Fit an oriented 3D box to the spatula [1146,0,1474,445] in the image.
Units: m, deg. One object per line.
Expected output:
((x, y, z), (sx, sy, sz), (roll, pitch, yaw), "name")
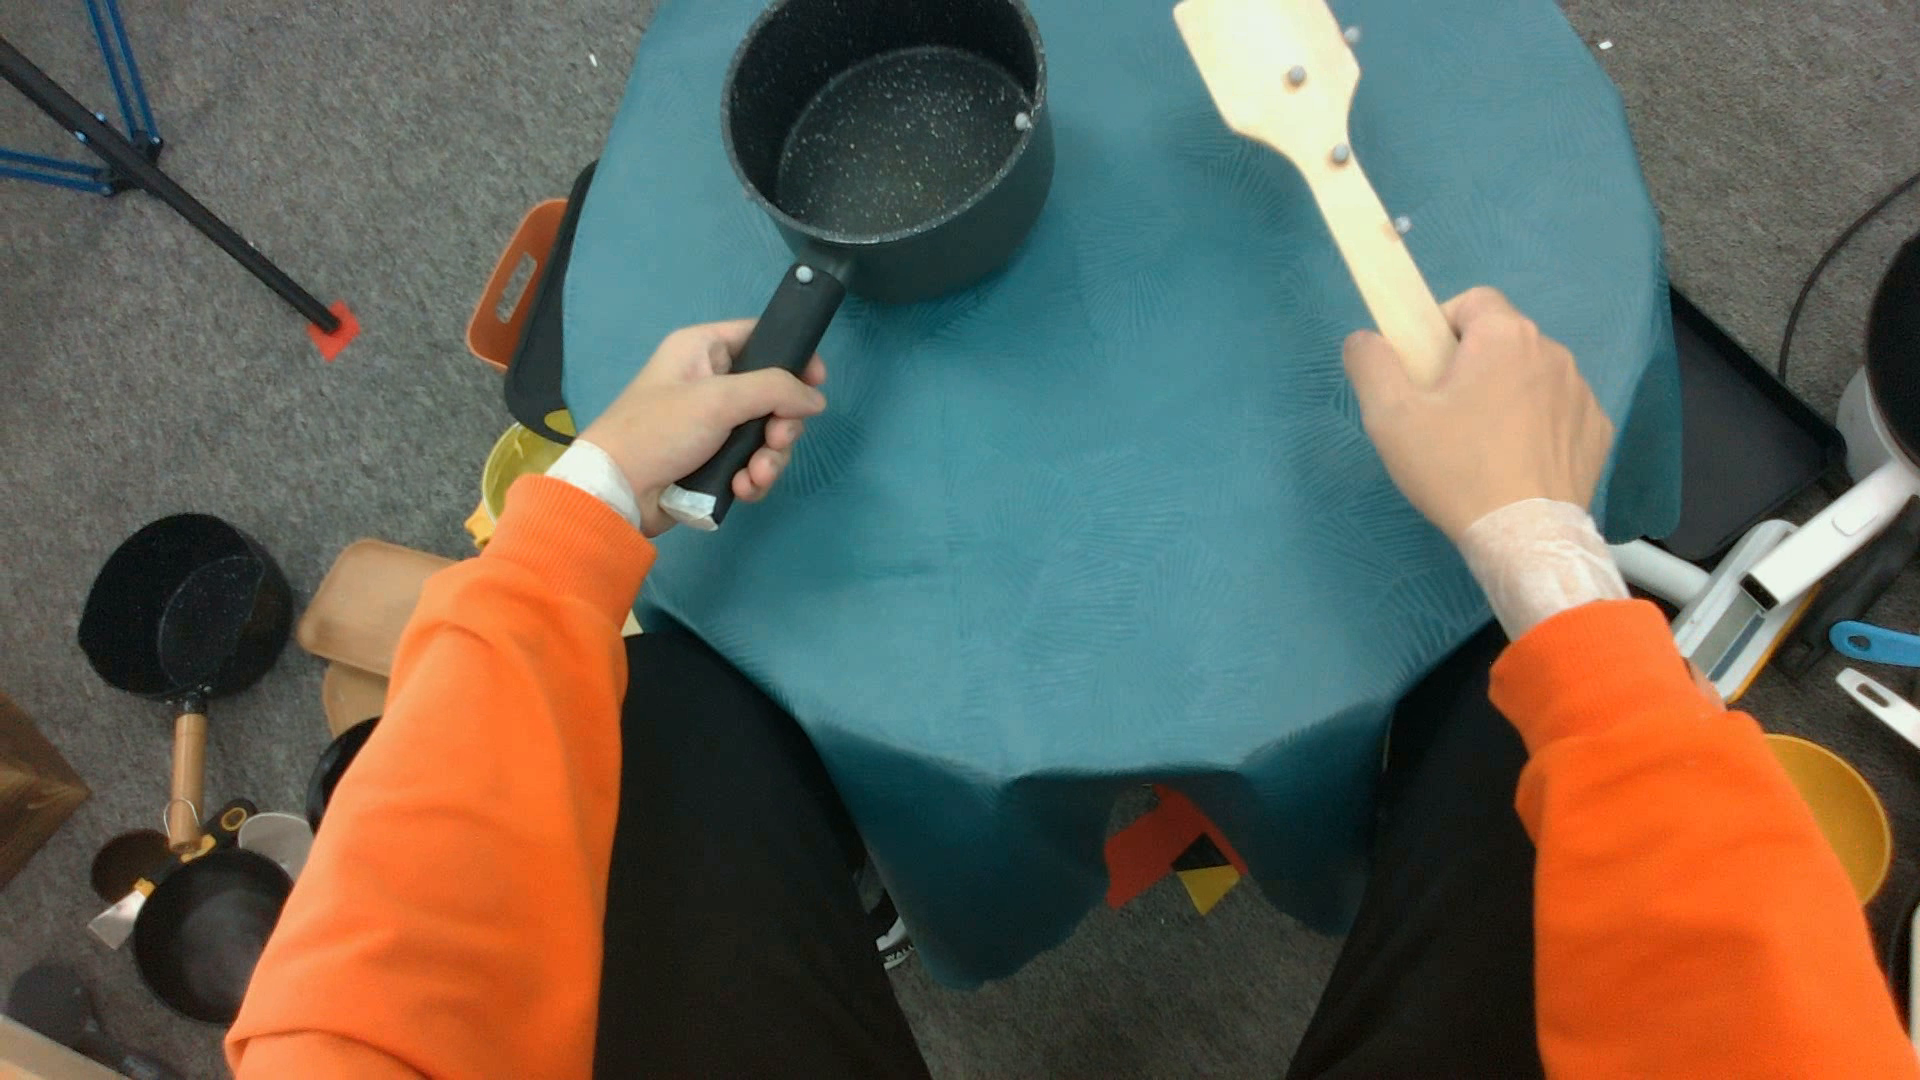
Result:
((0.173, -0.169, 0.666), (0.072, 0.010, 0.294), (-22, 64, 5), "spatula")

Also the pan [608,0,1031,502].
((-0.078, -0.156, 0.719), (0.172, 0.086, 0.329), (21, 75, 17), "pan")
